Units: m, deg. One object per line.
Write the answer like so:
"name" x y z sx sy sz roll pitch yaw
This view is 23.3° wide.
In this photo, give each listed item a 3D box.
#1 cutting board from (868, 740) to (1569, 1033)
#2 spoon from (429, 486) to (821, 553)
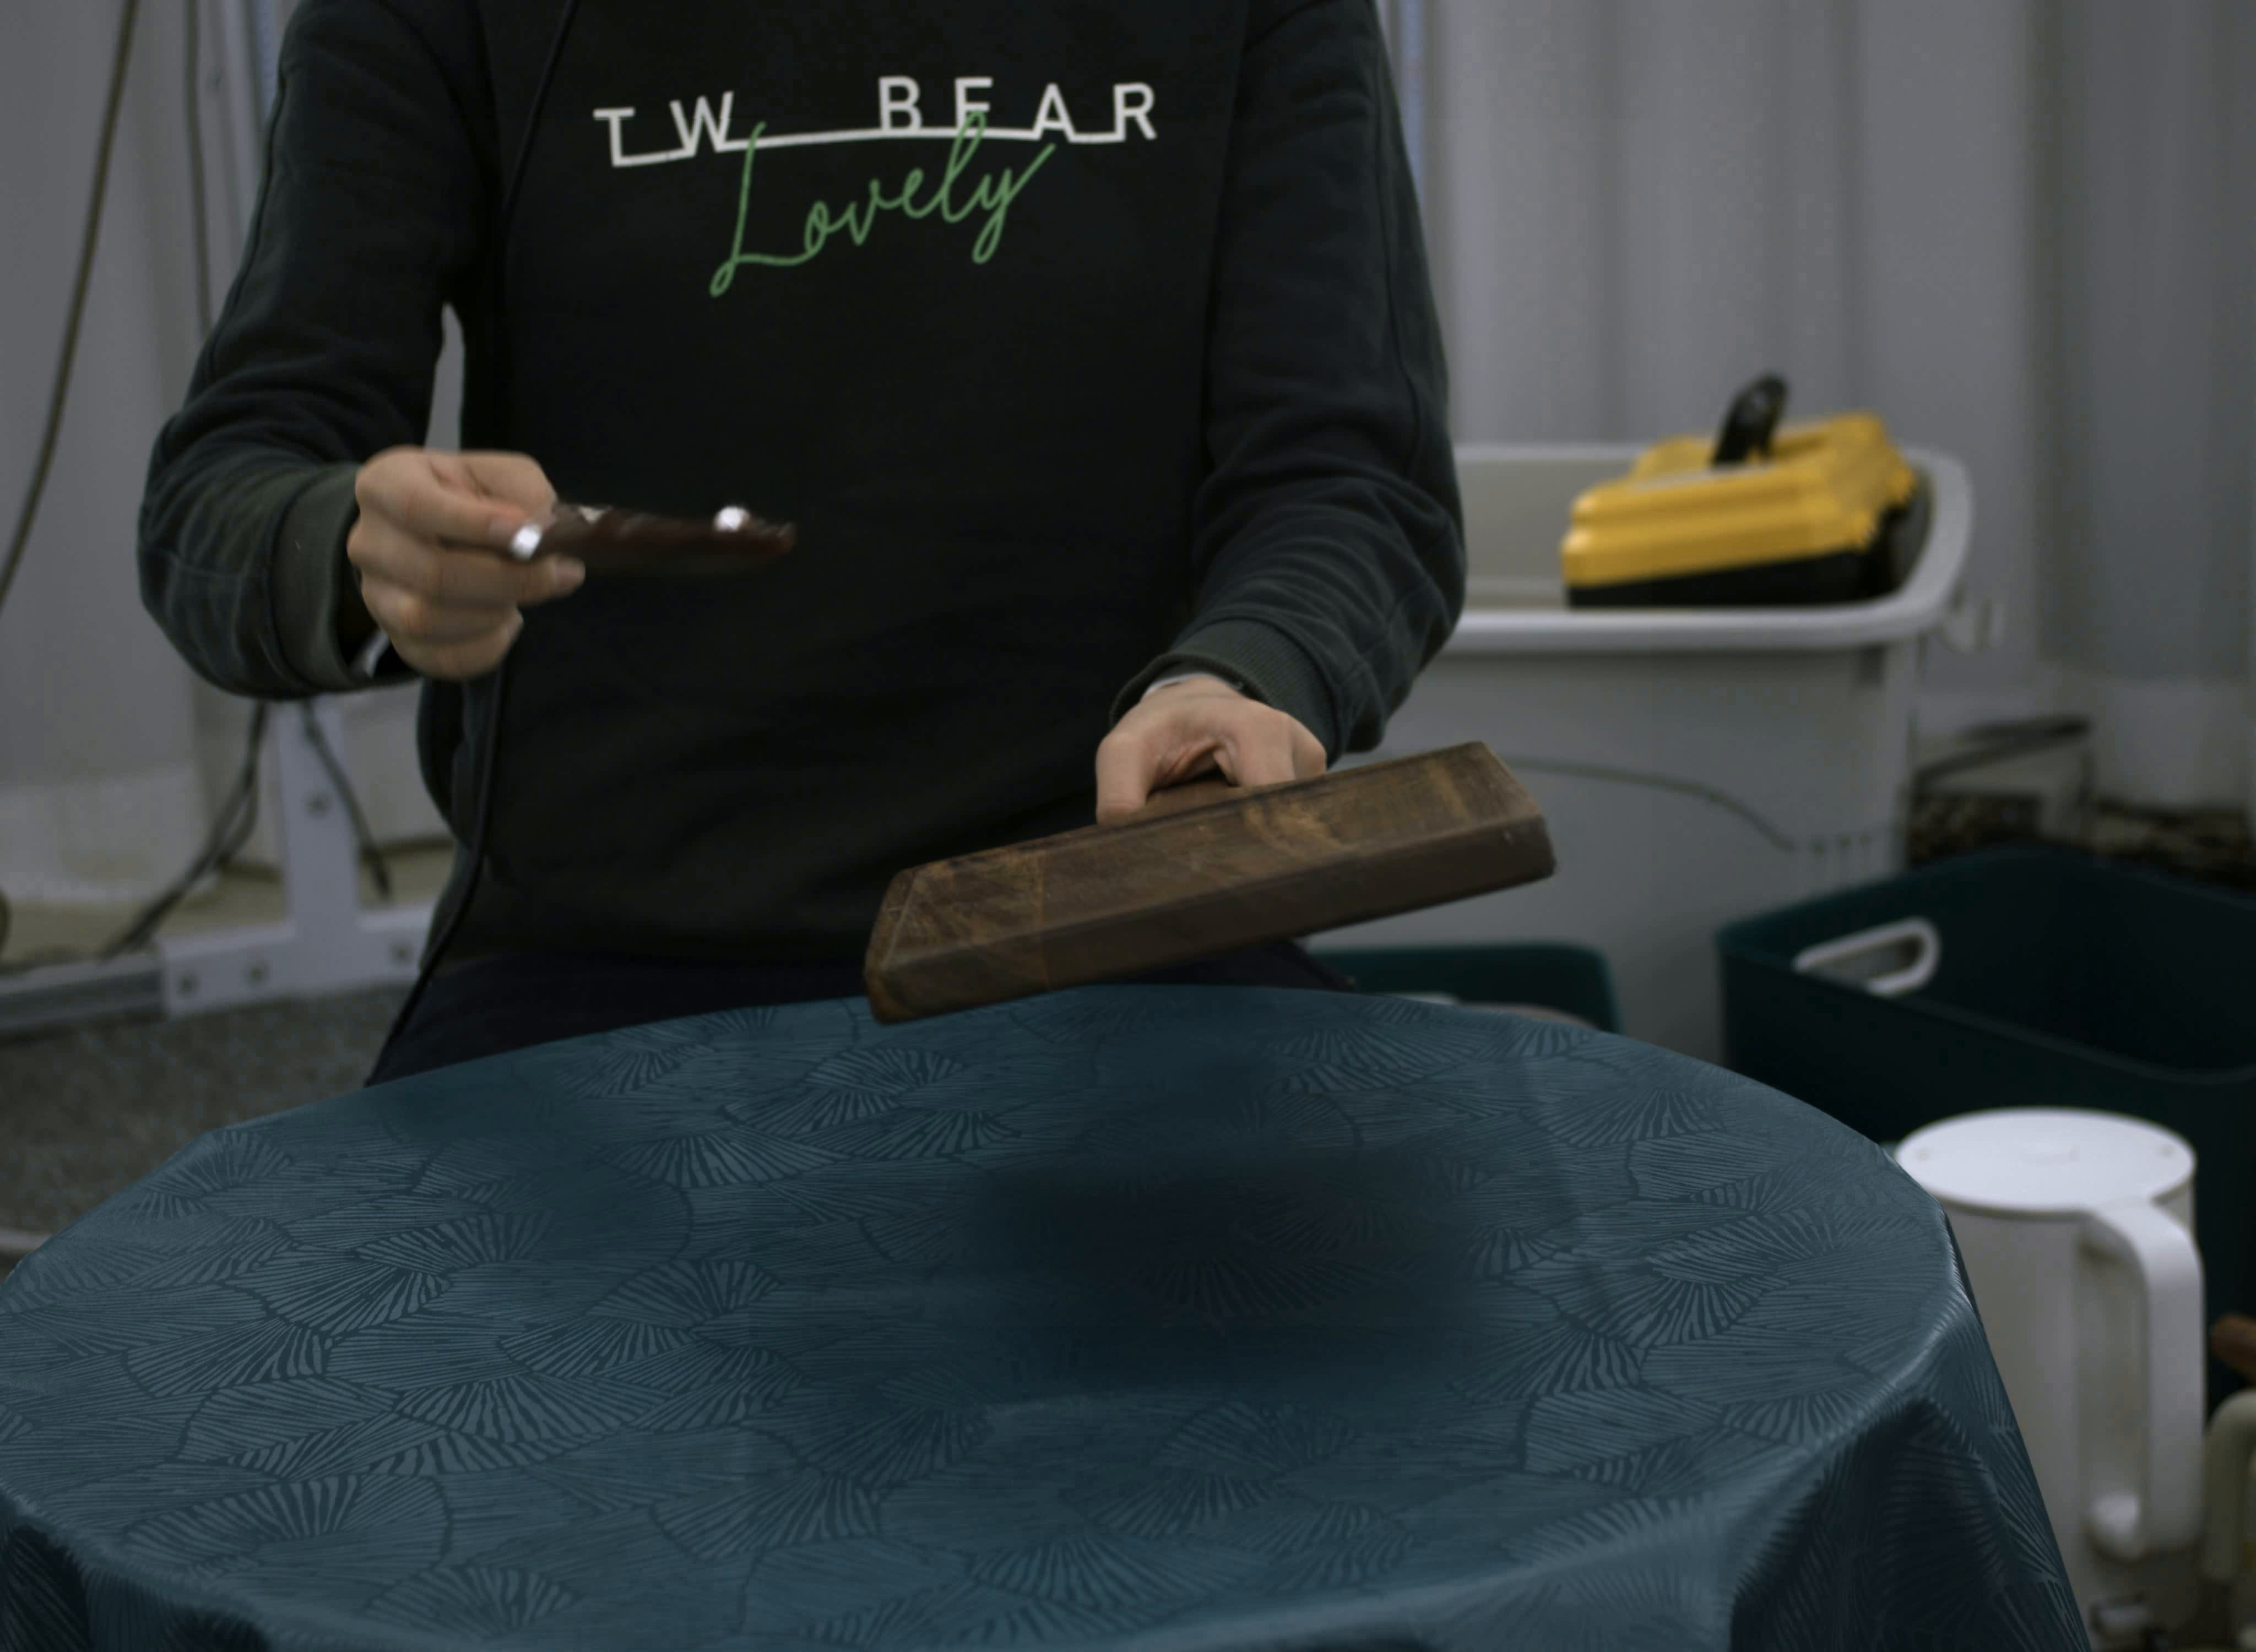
"cutting board" 0.022 0.011 1.674 0.200 0.023 0.353 -14 5 1
"spoon" -0.161 -0.093 1.653 0.075 0.017 0.217 -1 4 -30
